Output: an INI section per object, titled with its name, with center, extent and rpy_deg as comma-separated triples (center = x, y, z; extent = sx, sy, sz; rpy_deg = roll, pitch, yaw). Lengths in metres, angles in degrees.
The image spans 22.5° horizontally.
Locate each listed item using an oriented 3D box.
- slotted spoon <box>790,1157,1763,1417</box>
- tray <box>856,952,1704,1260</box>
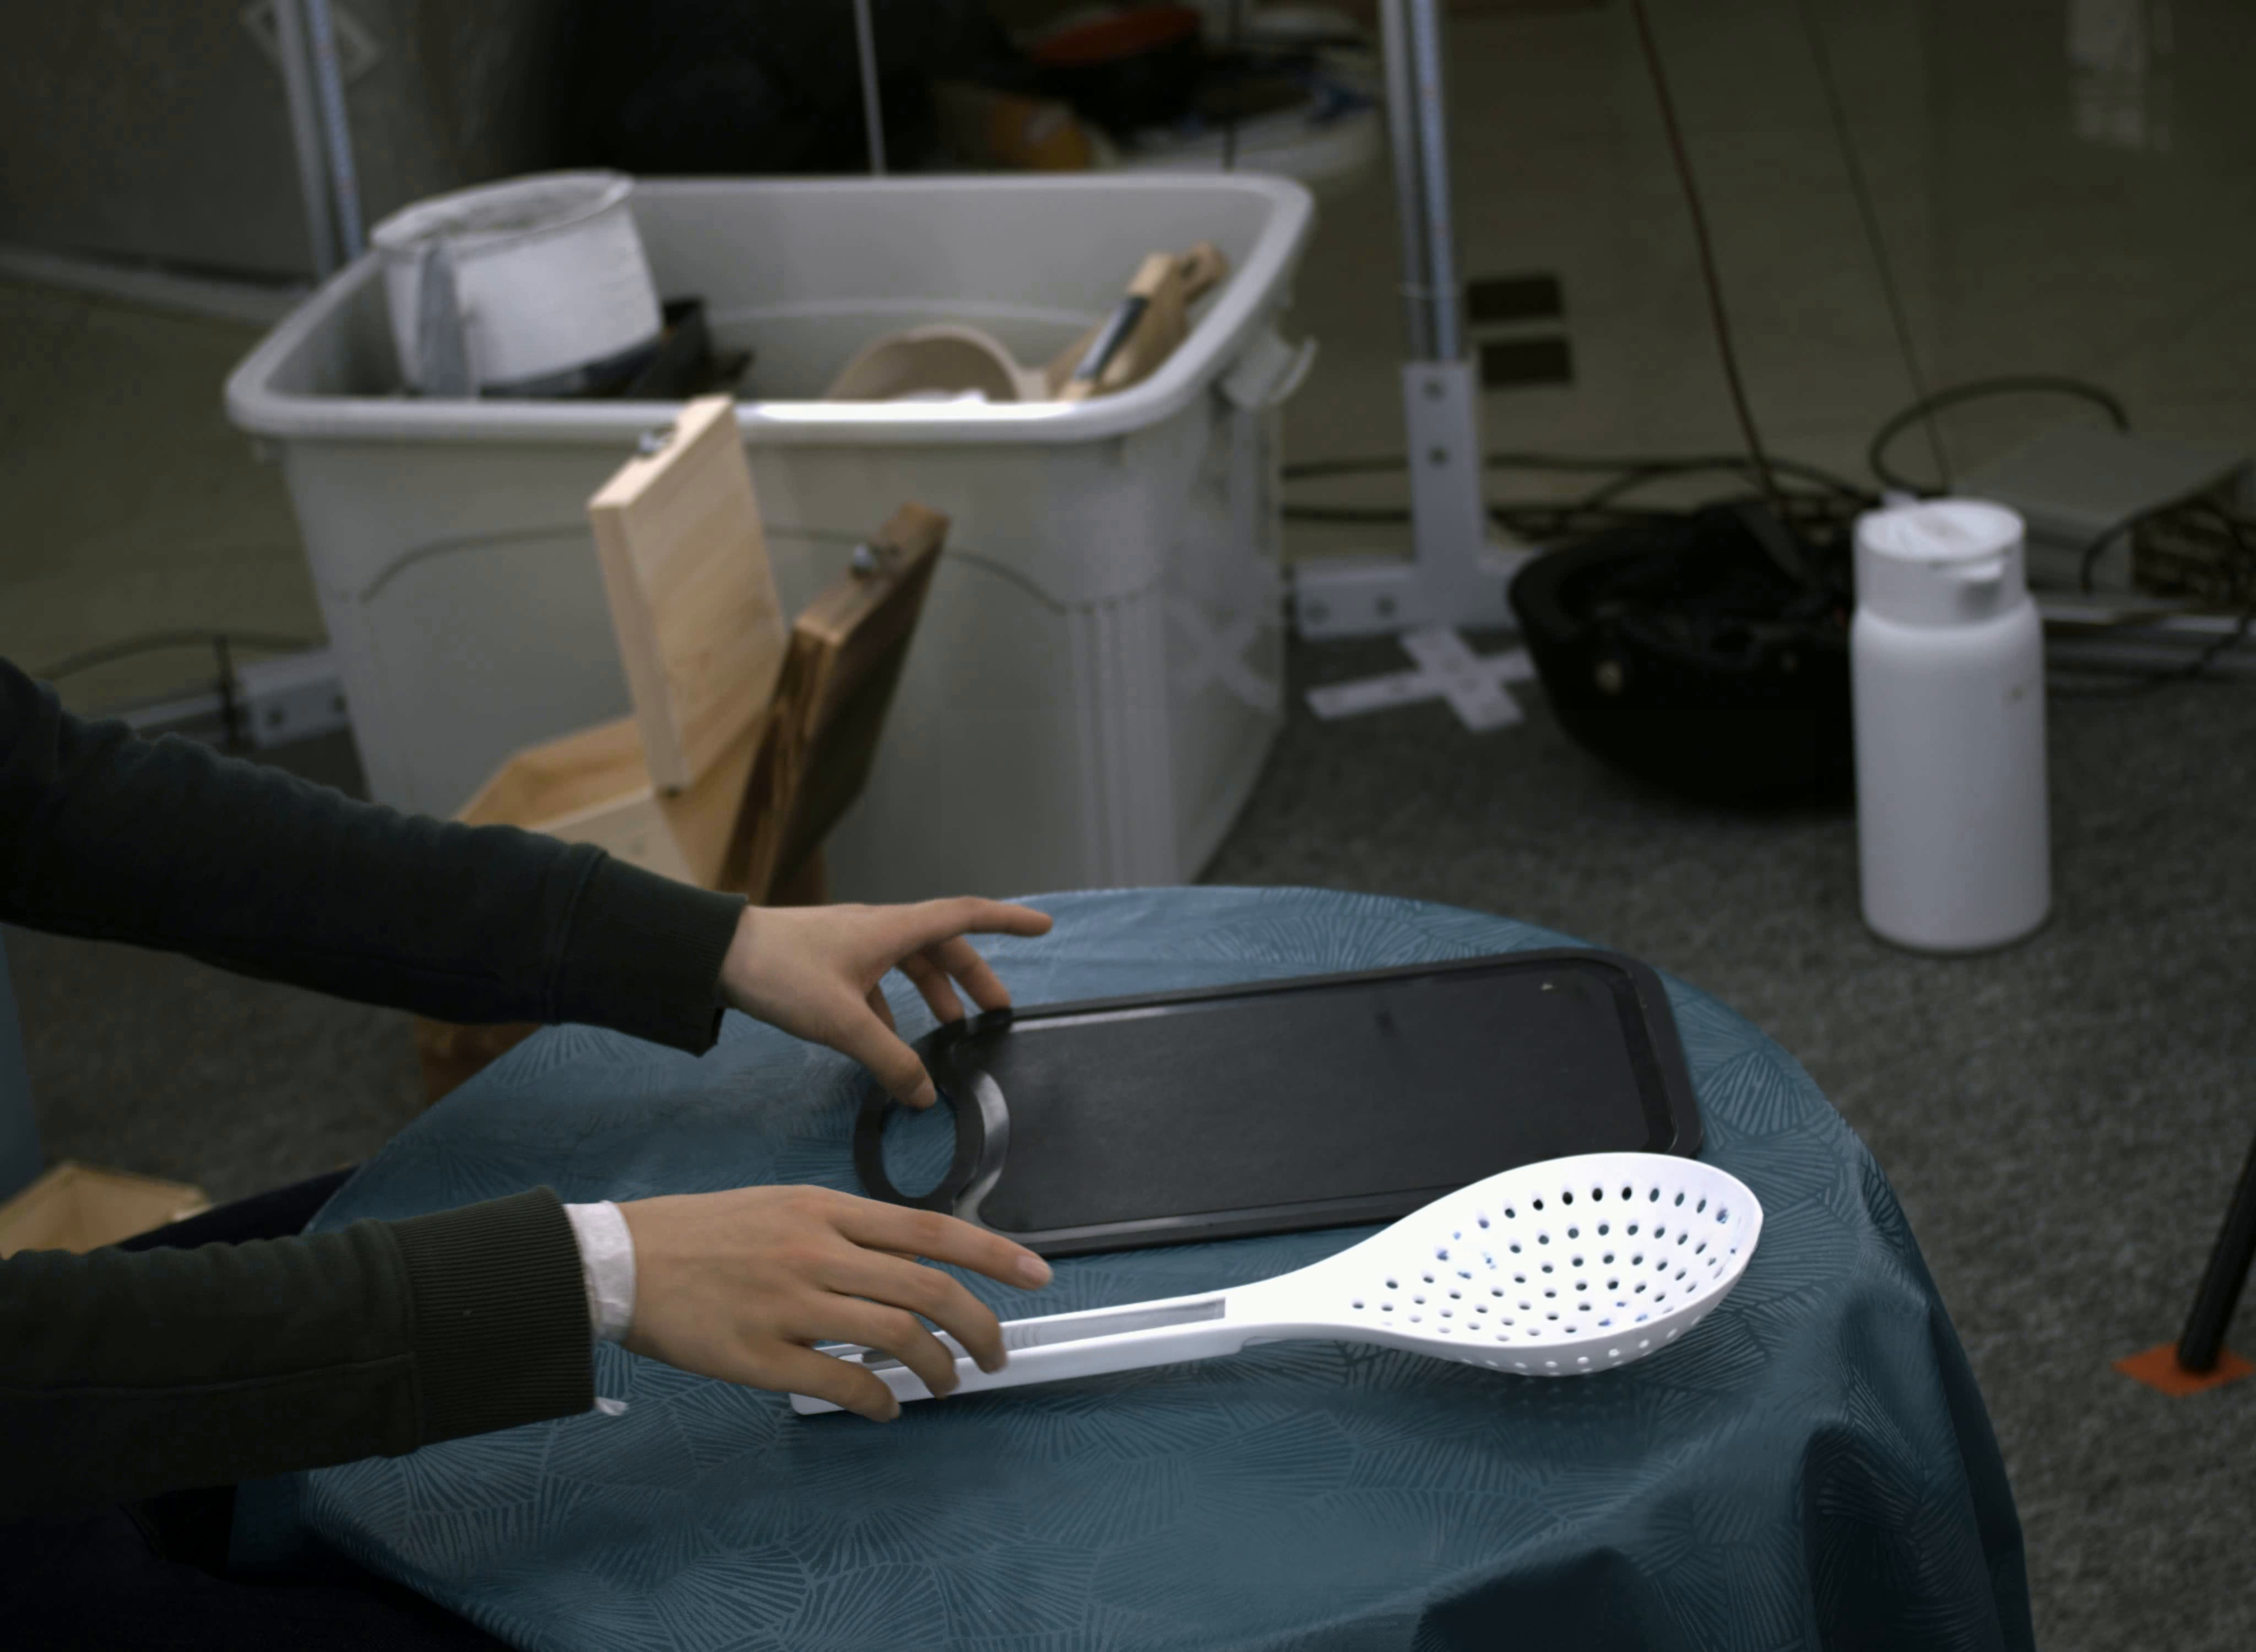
[slotted spoon]
center = 0.051, 0.173, 2.013
extent = 0.349, 0.046, 0.134
rpy_deg = -5, 23, 5
[tray]
center = 0.055, 0.106, 2.202
extent = 0.325, 0.010, 0.208
rpy_deg = -6, 24, 1
